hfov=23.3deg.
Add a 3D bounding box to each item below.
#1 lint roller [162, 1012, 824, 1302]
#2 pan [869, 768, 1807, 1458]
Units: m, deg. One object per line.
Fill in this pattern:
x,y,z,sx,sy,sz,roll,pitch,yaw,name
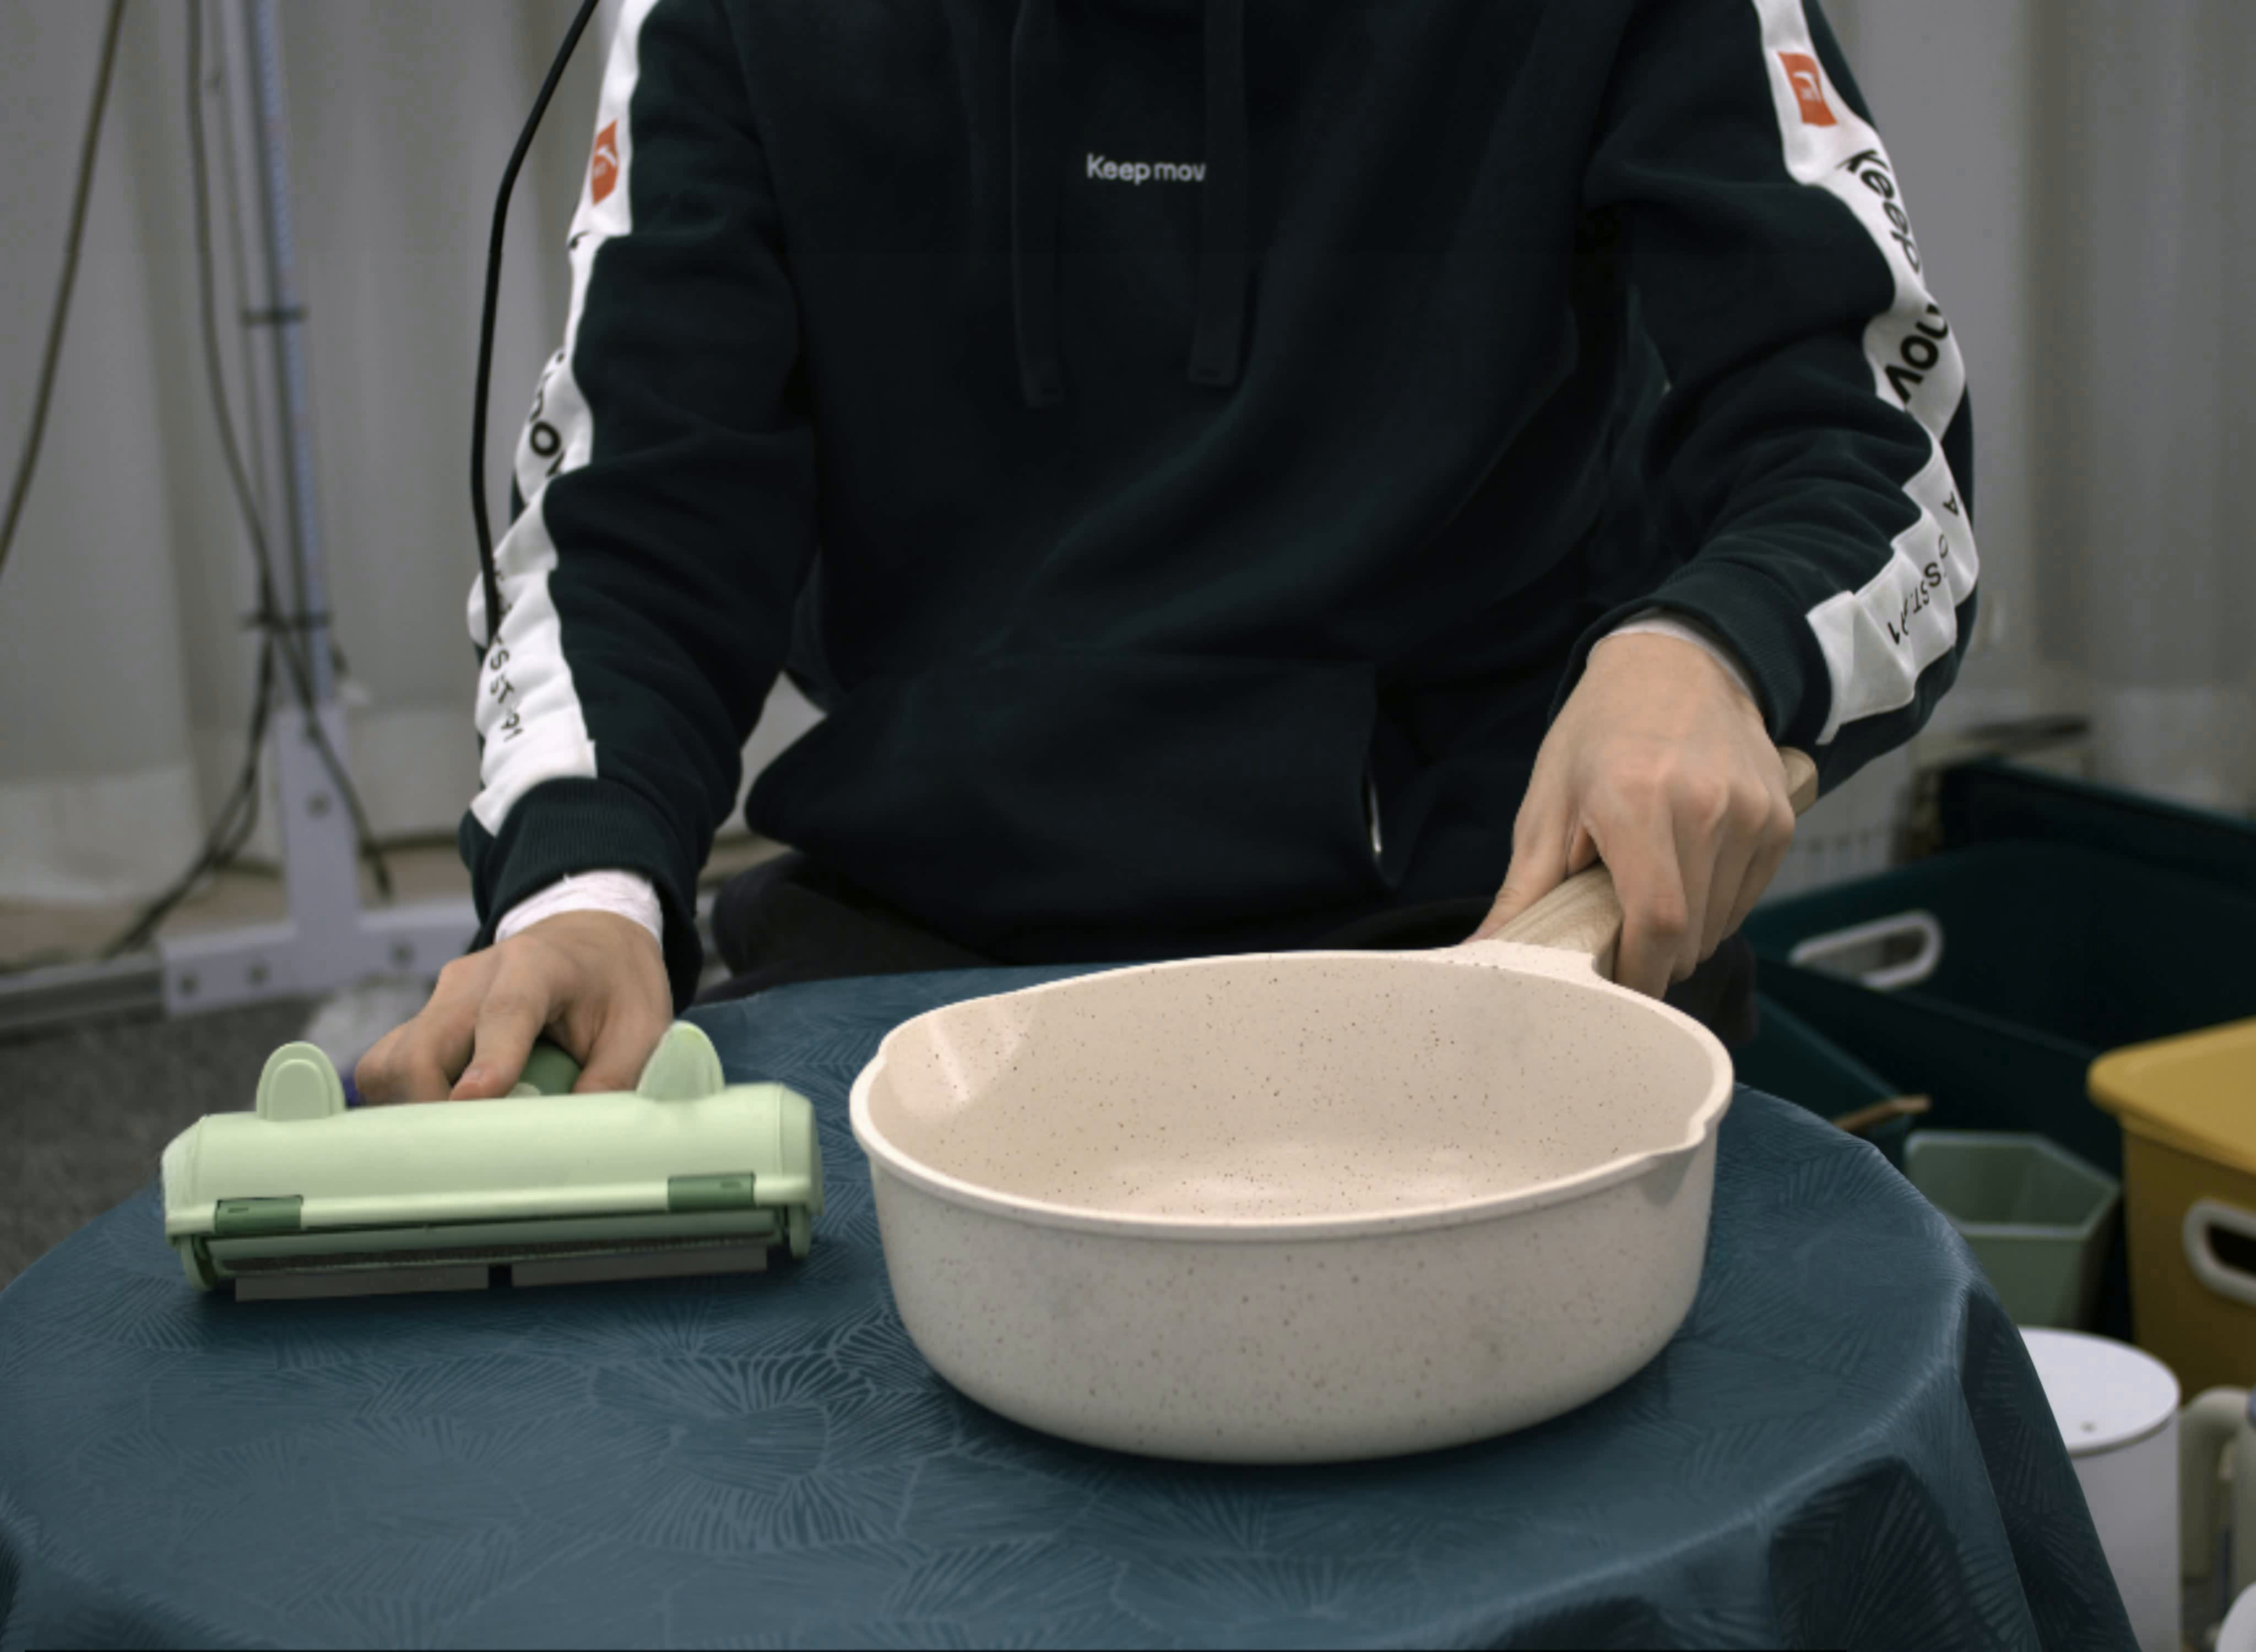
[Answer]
-0.194,0.081,1.711,0.198,0.081,0.185,-5,23,1,lint roller
0.102,0.081,1.630,0.264,0.101,0.435,5,16,33,pan
